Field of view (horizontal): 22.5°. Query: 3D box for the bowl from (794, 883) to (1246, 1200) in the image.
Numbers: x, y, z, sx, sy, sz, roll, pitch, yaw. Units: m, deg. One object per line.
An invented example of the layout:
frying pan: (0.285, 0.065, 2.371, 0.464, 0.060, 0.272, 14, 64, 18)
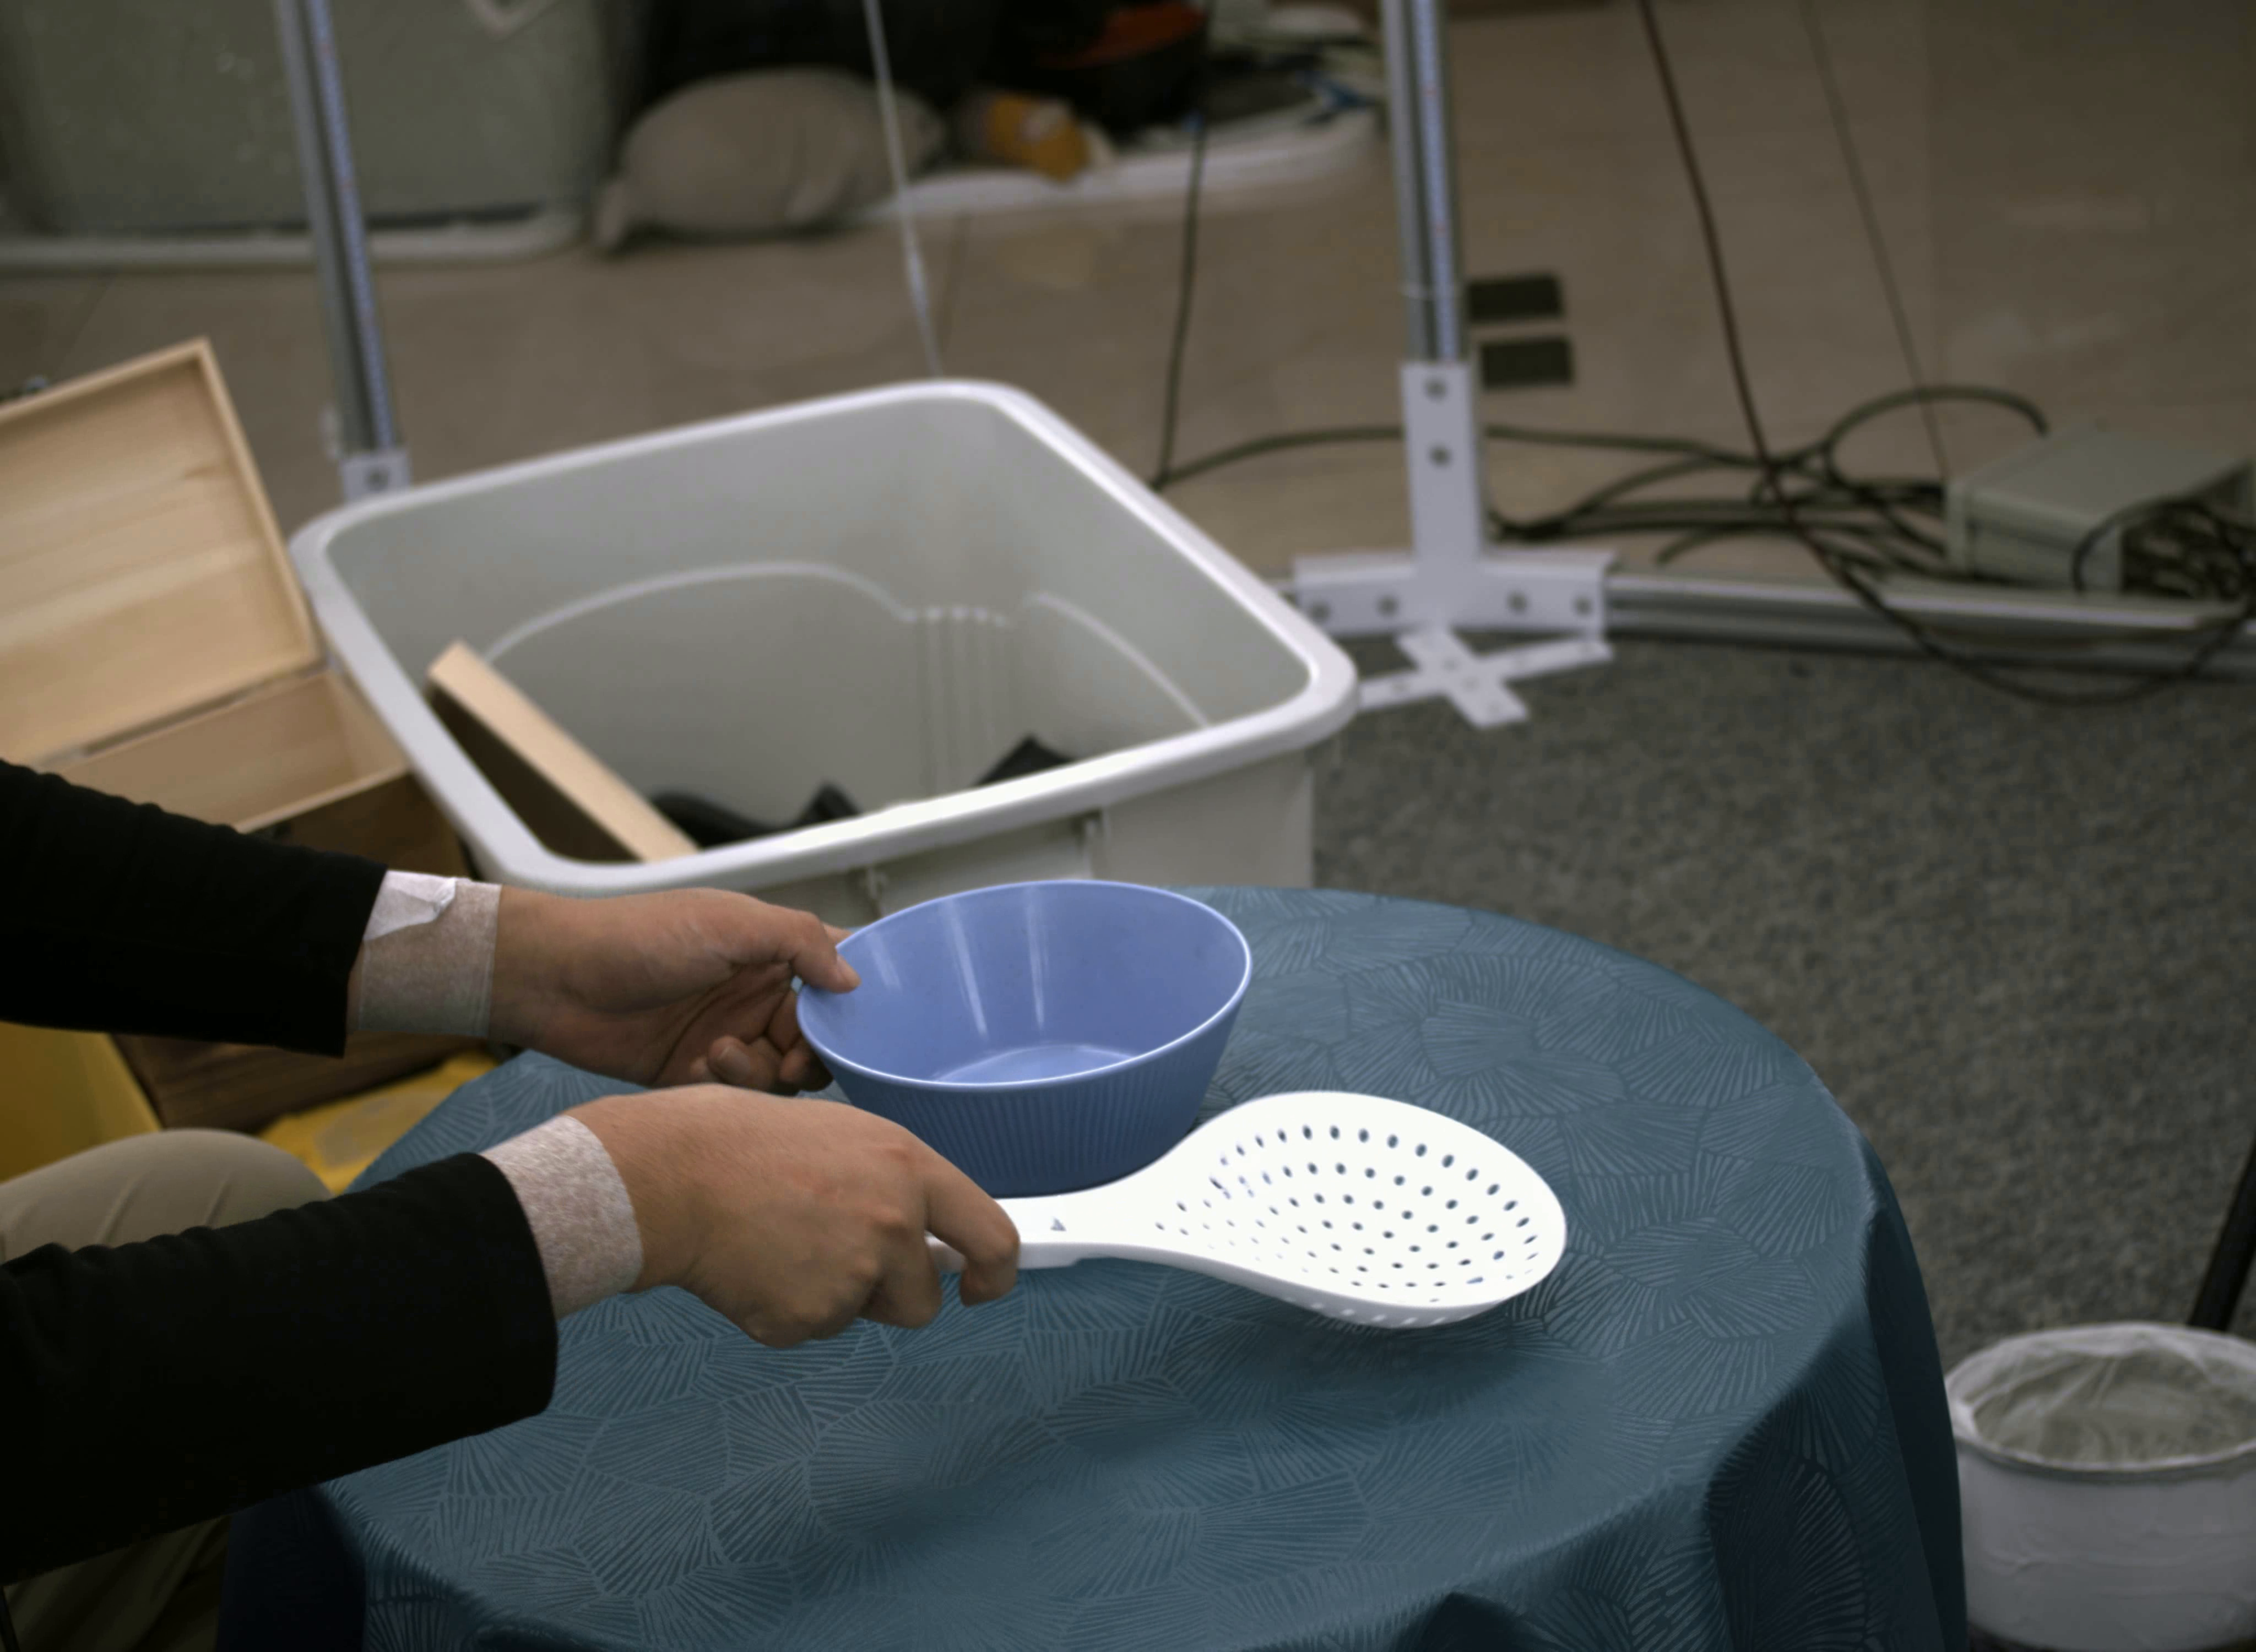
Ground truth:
bowl: (-0.038, 0.089, 2.182, 0.176, 0.071, 0.173, -6, 25, 3)

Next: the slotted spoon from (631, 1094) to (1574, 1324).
slotted spoon: (-0.007, 0.143, 1.992, 0.349, 0.046, 0.134, 2, 29, -26)
